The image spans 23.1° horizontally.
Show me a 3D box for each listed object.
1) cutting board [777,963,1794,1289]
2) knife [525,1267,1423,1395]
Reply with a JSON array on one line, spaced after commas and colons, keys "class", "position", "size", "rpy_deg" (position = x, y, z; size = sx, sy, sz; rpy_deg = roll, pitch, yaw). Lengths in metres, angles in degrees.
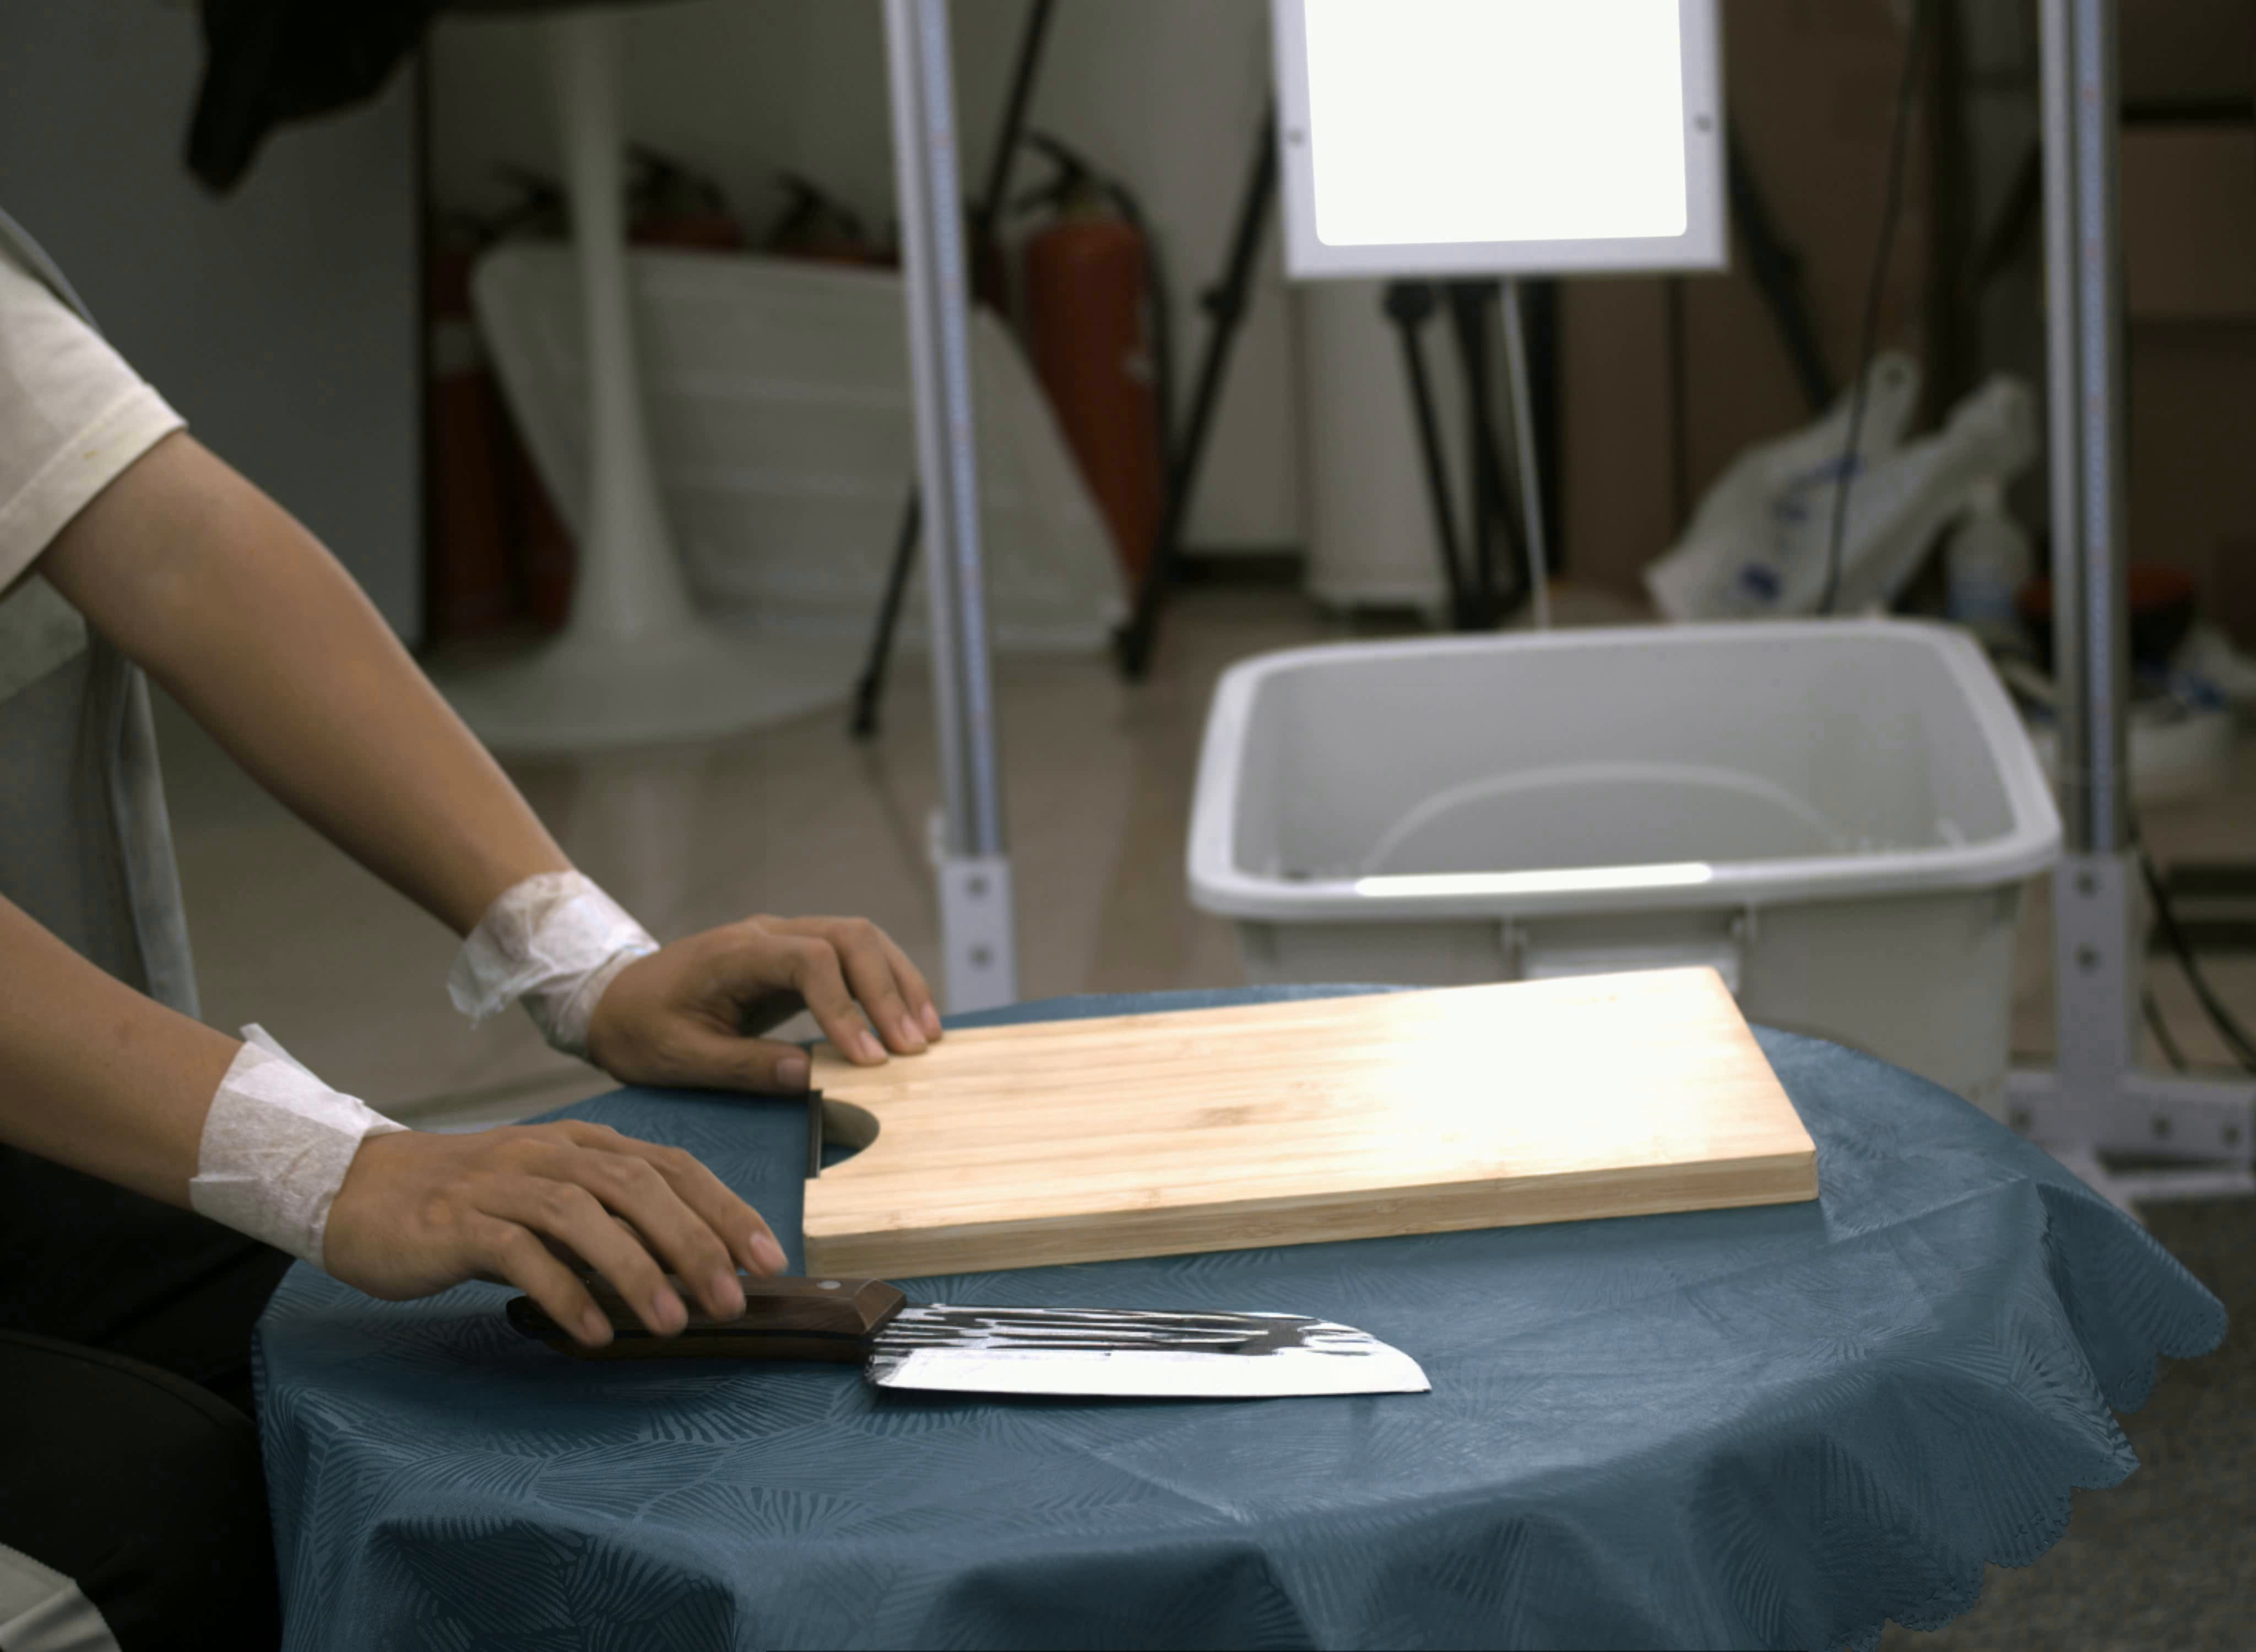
[{"class": "cutting board", "position": [0.051, 0.104, 1.939], "size": [0.347, 0.023, 0.250], "rpy_deg": [-5, 13, 0]}, {"class": "knife", "position": [-0.053, 0.162, 1.728], "size": [0.302, 0.024, 0.067], "rpy_deg": [1, 18, 14]}]
